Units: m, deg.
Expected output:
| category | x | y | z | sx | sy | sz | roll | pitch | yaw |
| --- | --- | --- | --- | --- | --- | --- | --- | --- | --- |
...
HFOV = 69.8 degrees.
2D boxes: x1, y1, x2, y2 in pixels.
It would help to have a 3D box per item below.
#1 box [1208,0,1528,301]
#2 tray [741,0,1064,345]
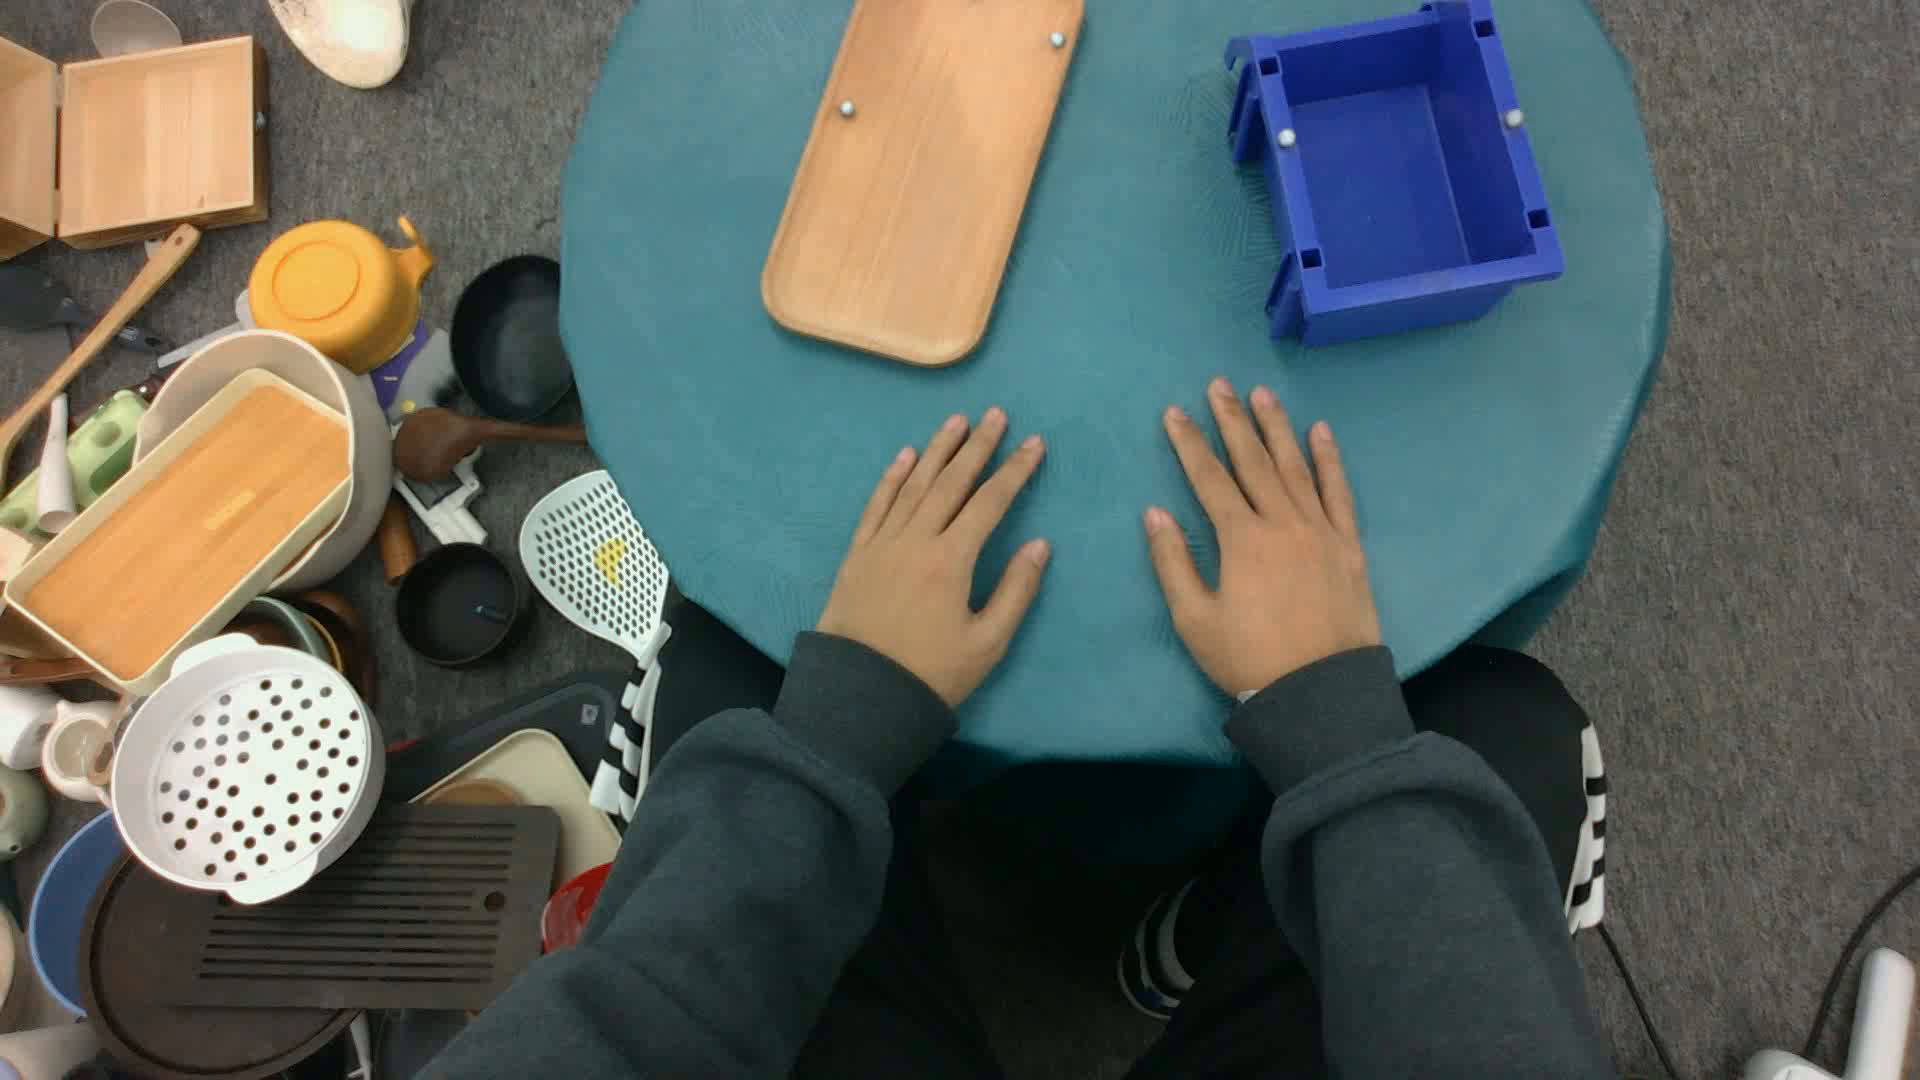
| category | x | y | z | sx | sy | sz | roll | pitch | yaw |
| --- | --- | --- | --- | --- | --- | --- | --- | --- | --- |
| box | 0.201 | -0.216 | 0.711 | 0.124 | 0.082 | 0.179 | -8 | 80 | 2 |
| tray | -0.029 | -0.230 | 0.762 | 0.130 | 0.023 | 0.251 | 15 | 79 | 10 |
